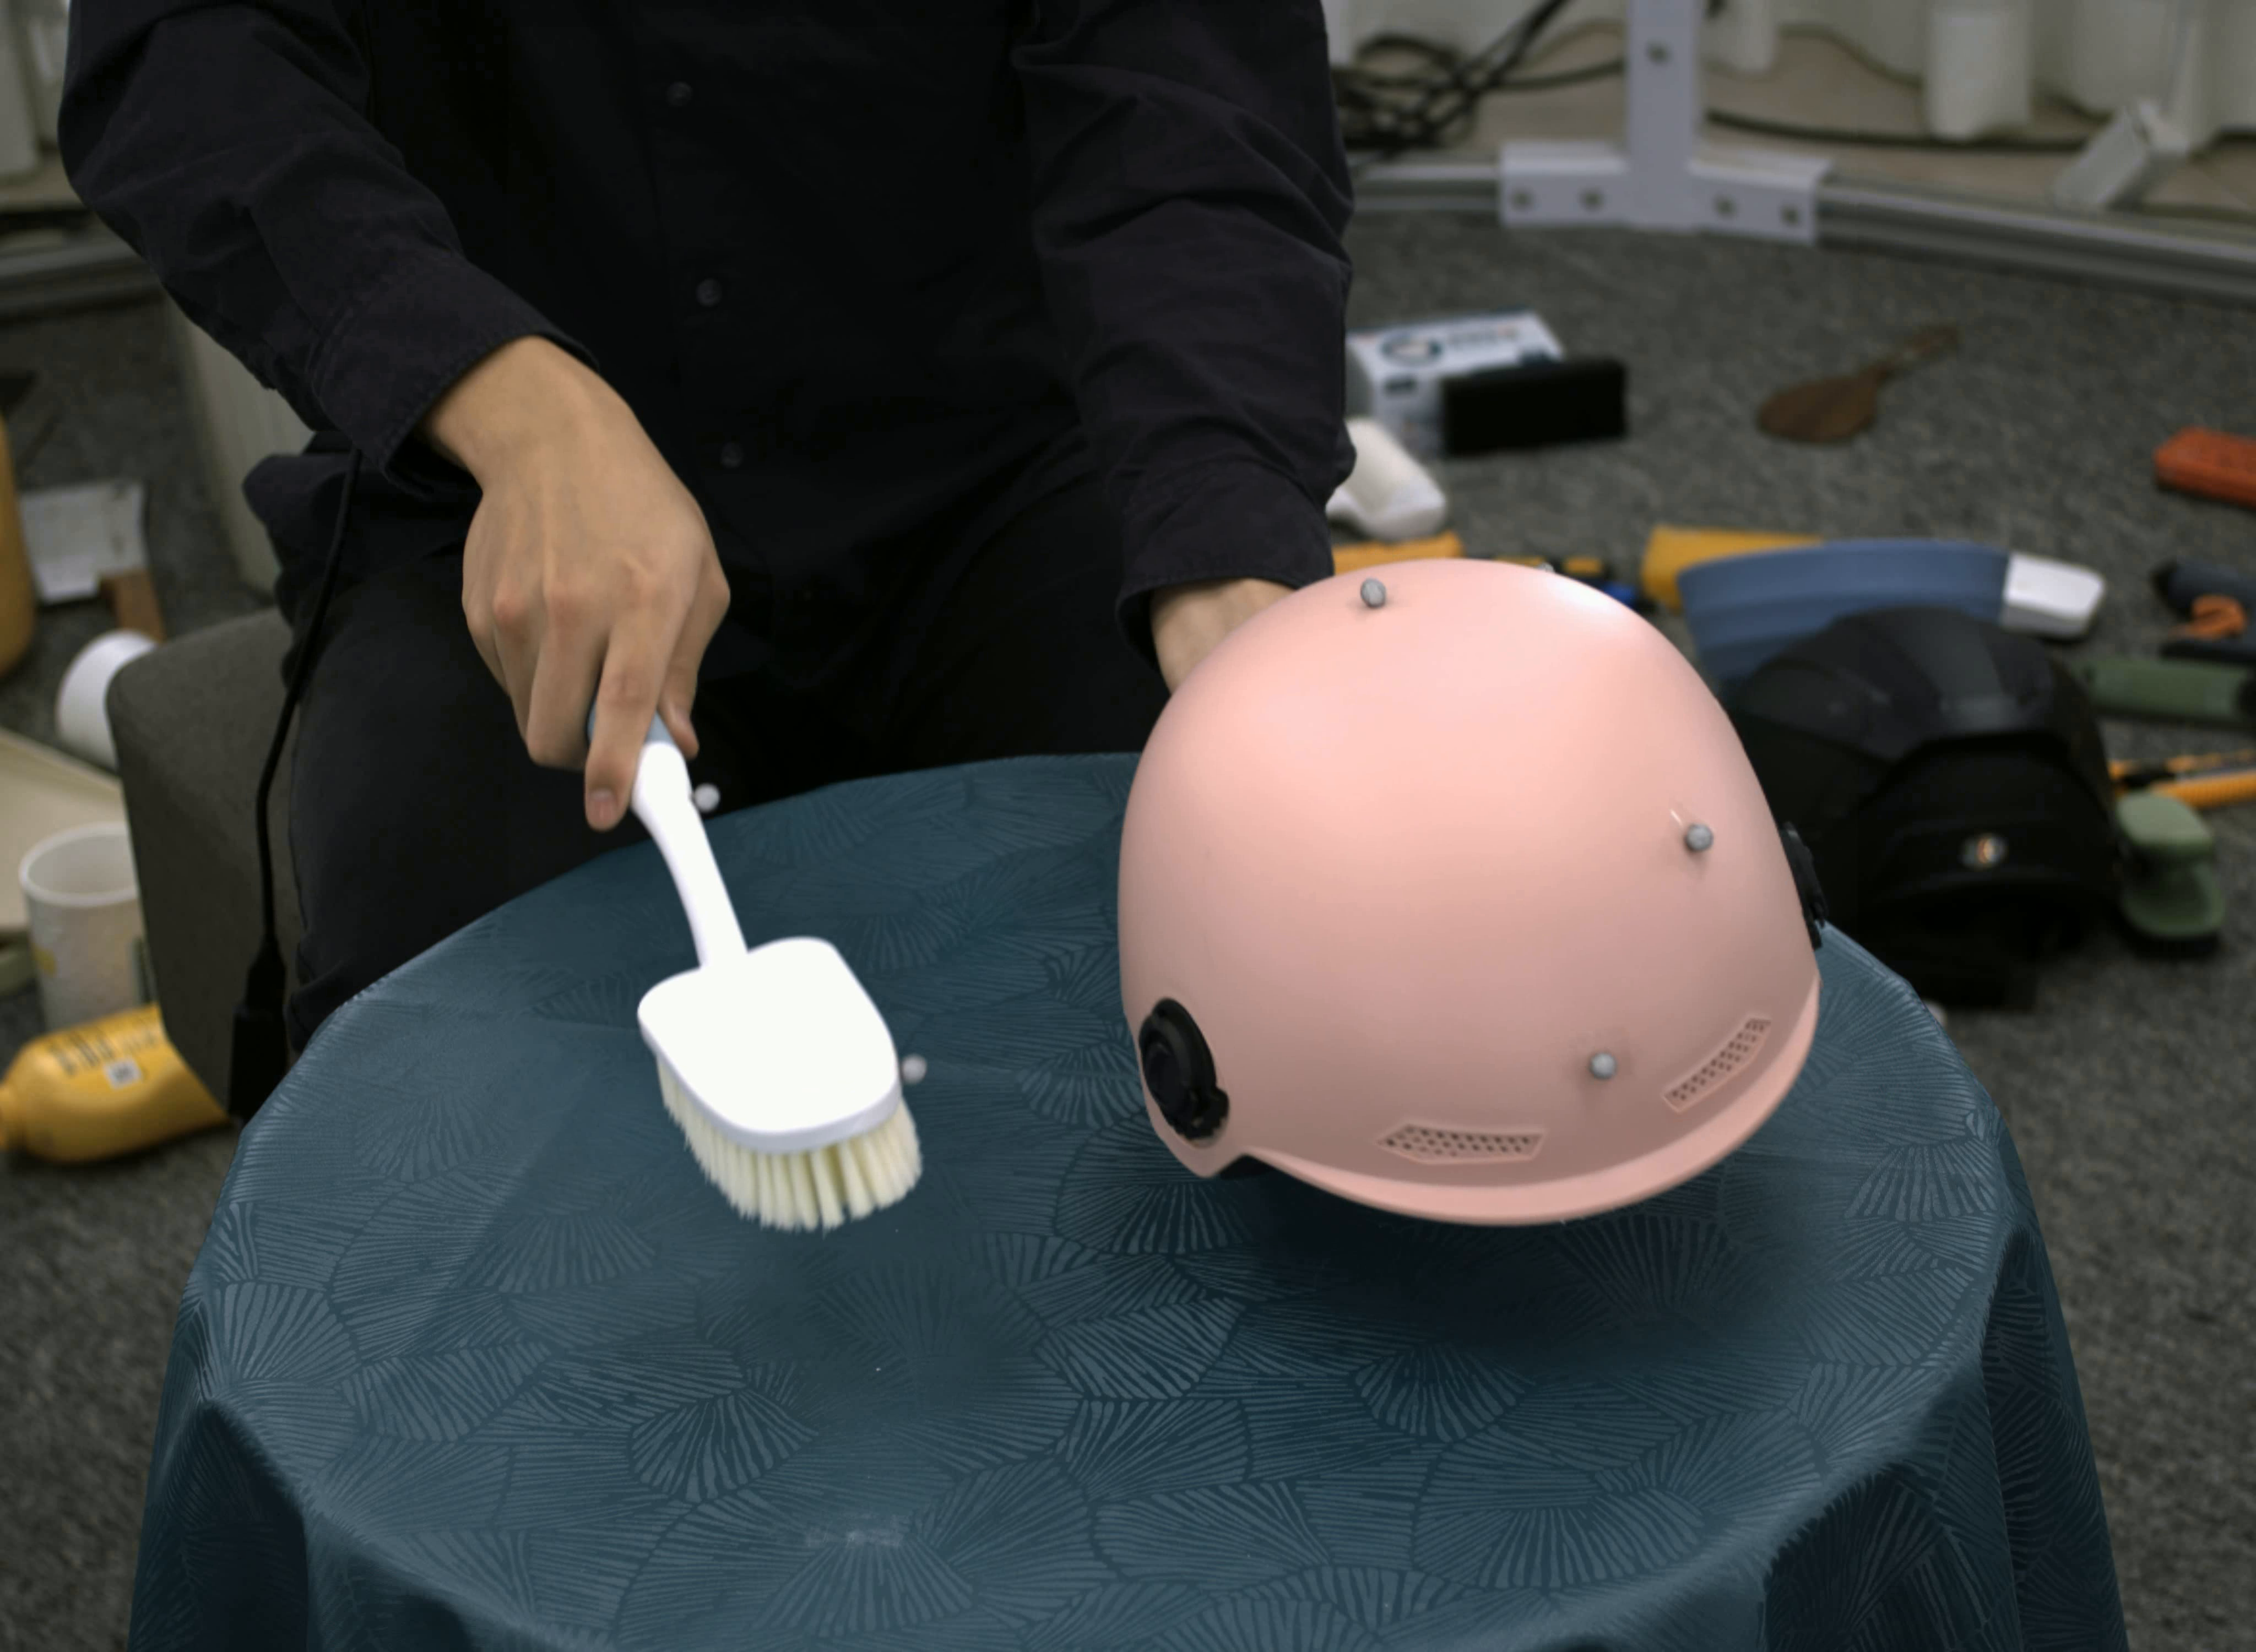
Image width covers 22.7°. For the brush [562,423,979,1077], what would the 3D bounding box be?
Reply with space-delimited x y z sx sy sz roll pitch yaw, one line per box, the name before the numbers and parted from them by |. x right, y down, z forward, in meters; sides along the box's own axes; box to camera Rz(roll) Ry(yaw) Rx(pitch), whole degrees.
brush | -0.120 -0.018 1.852 0.083 0.083 0.329 15 27 -34

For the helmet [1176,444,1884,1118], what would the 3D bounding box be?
helmet | 0.123 -0.032 1.826 0.234 0.157 0.268 -16 30 -12
